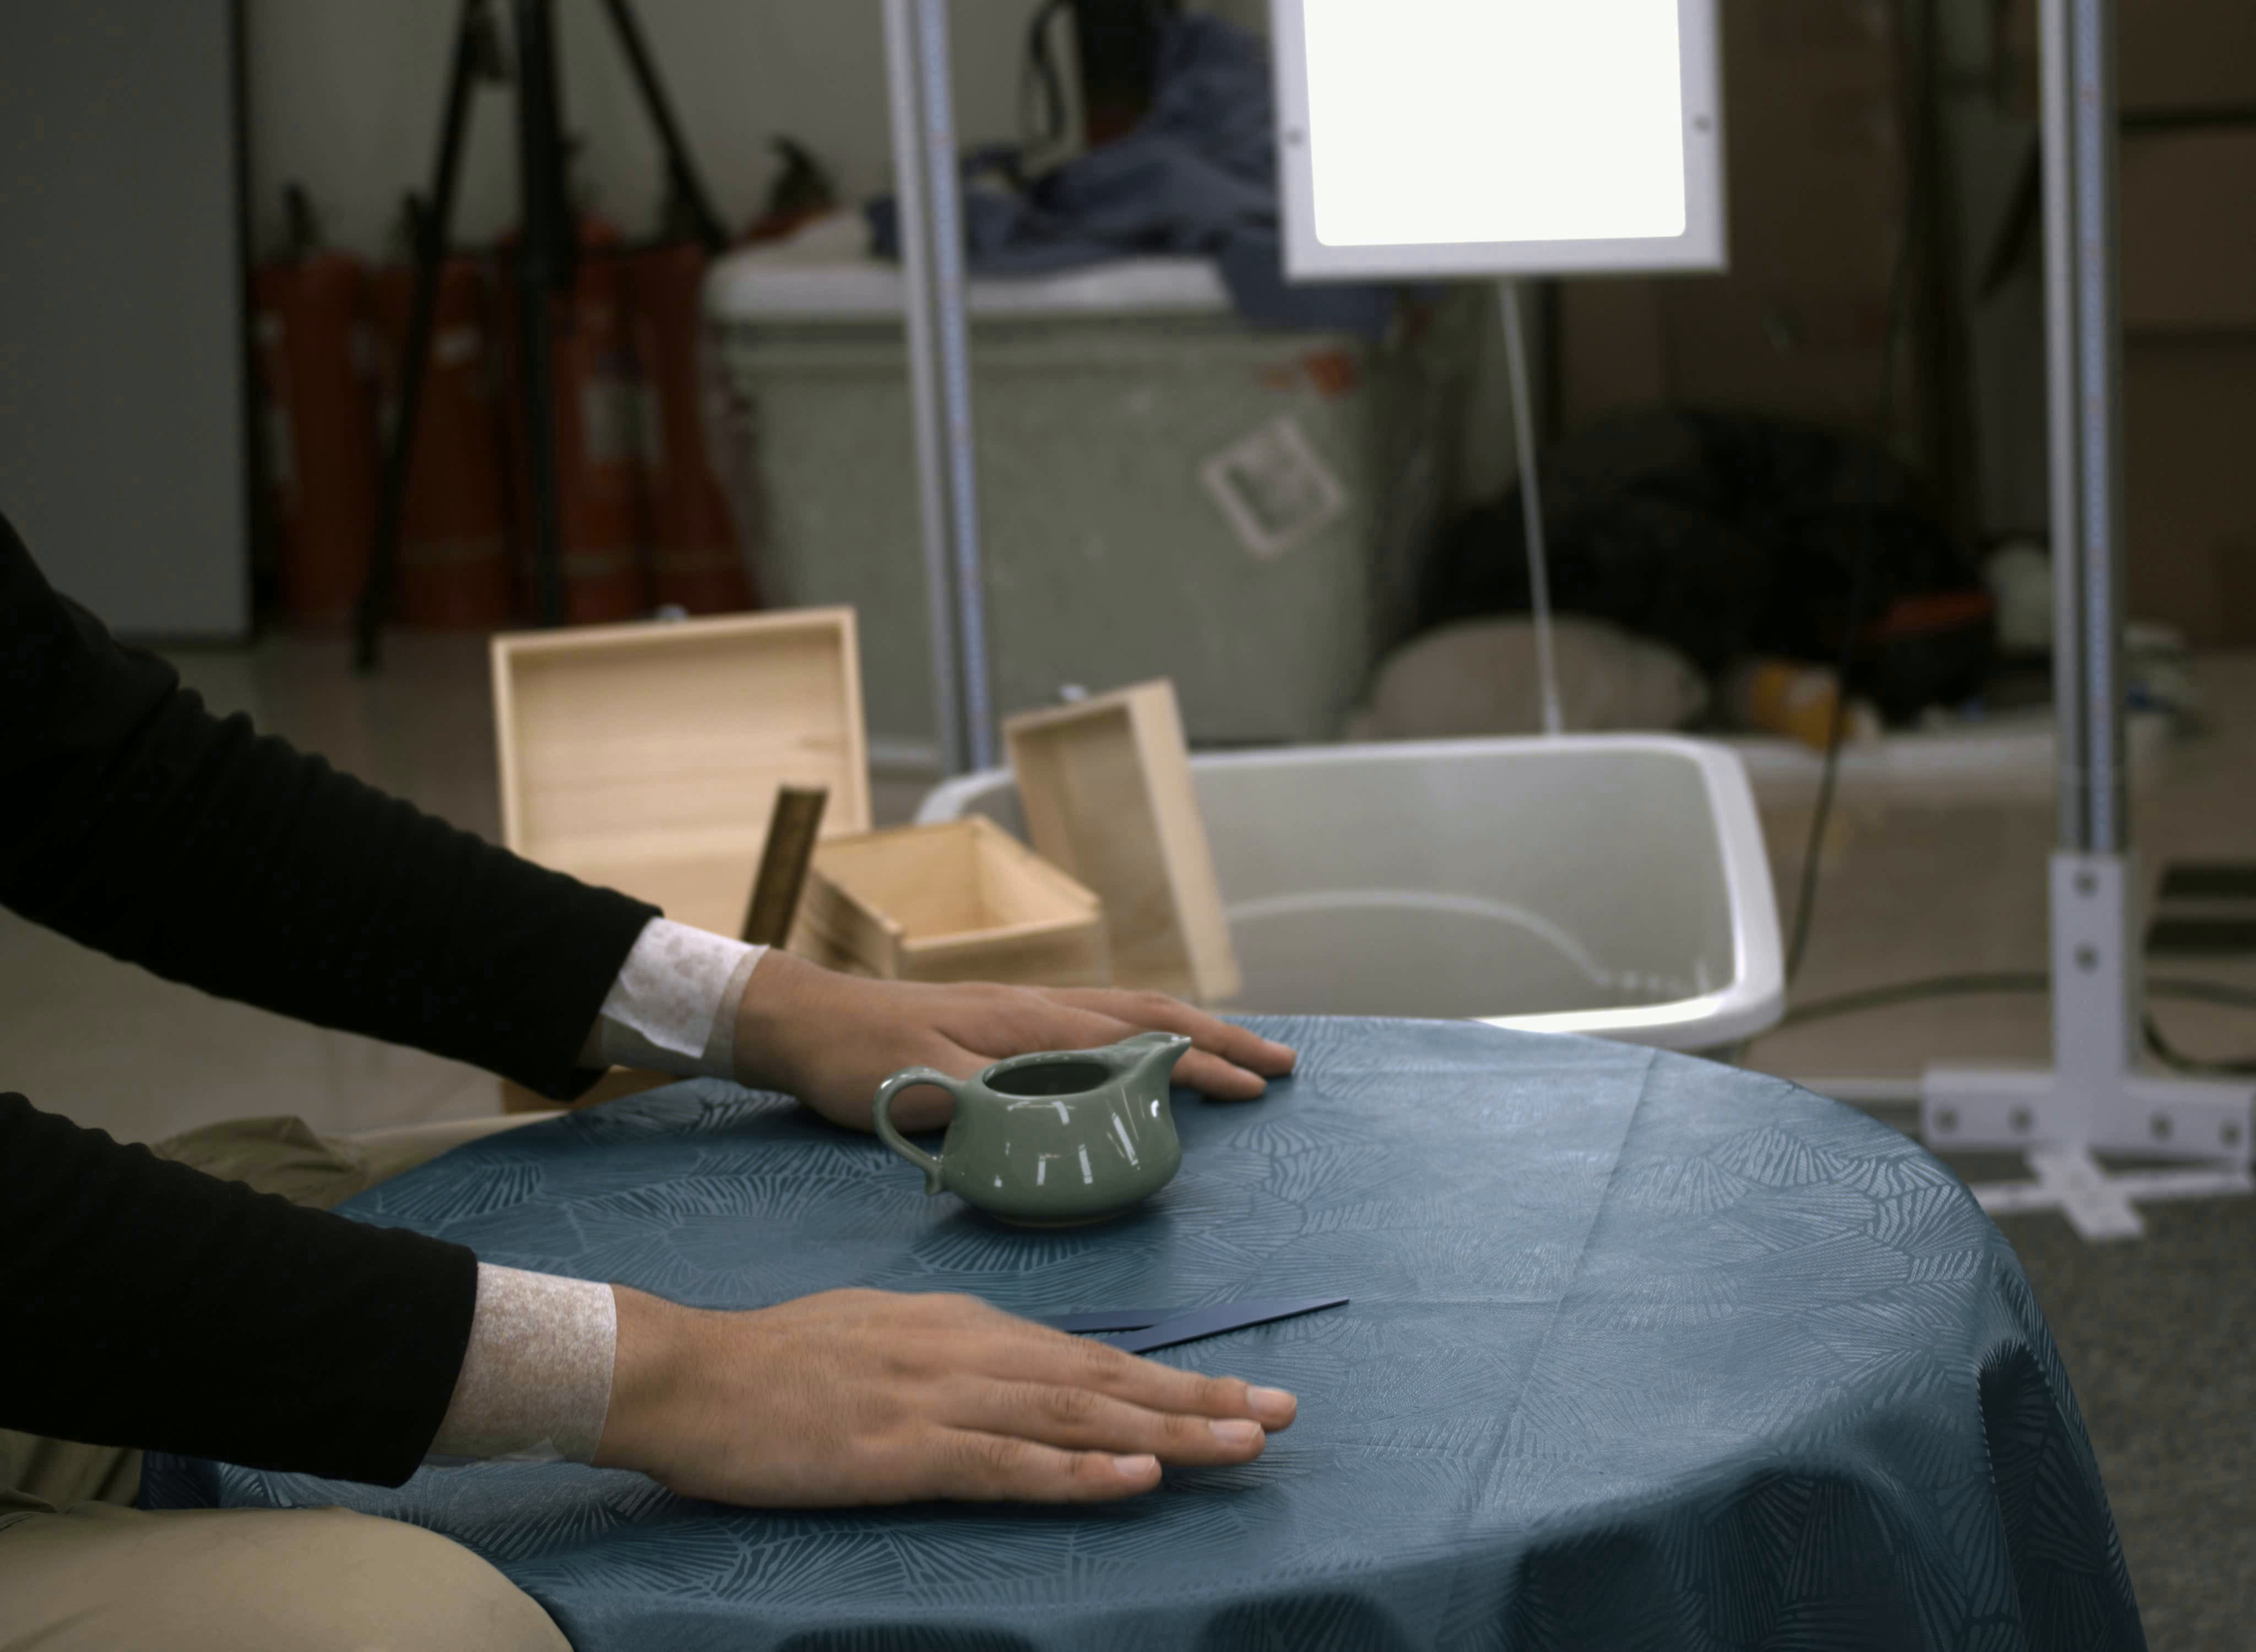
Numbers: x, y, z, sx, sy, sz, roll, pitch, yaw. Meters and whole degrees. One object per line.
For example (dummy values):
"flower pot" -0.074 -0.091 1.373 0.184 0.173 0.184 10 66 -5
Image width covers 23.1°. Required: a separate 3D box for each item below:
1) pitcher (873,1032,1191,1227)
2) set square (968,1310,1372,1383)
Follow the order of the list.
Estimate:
"pitcher" -0.031 0.104 1.884 0.111 0.056 0.085 -7 12 -9
"set square" 0.011 0.163 1.736 0.132 0.006 0.060 -3 13 9
